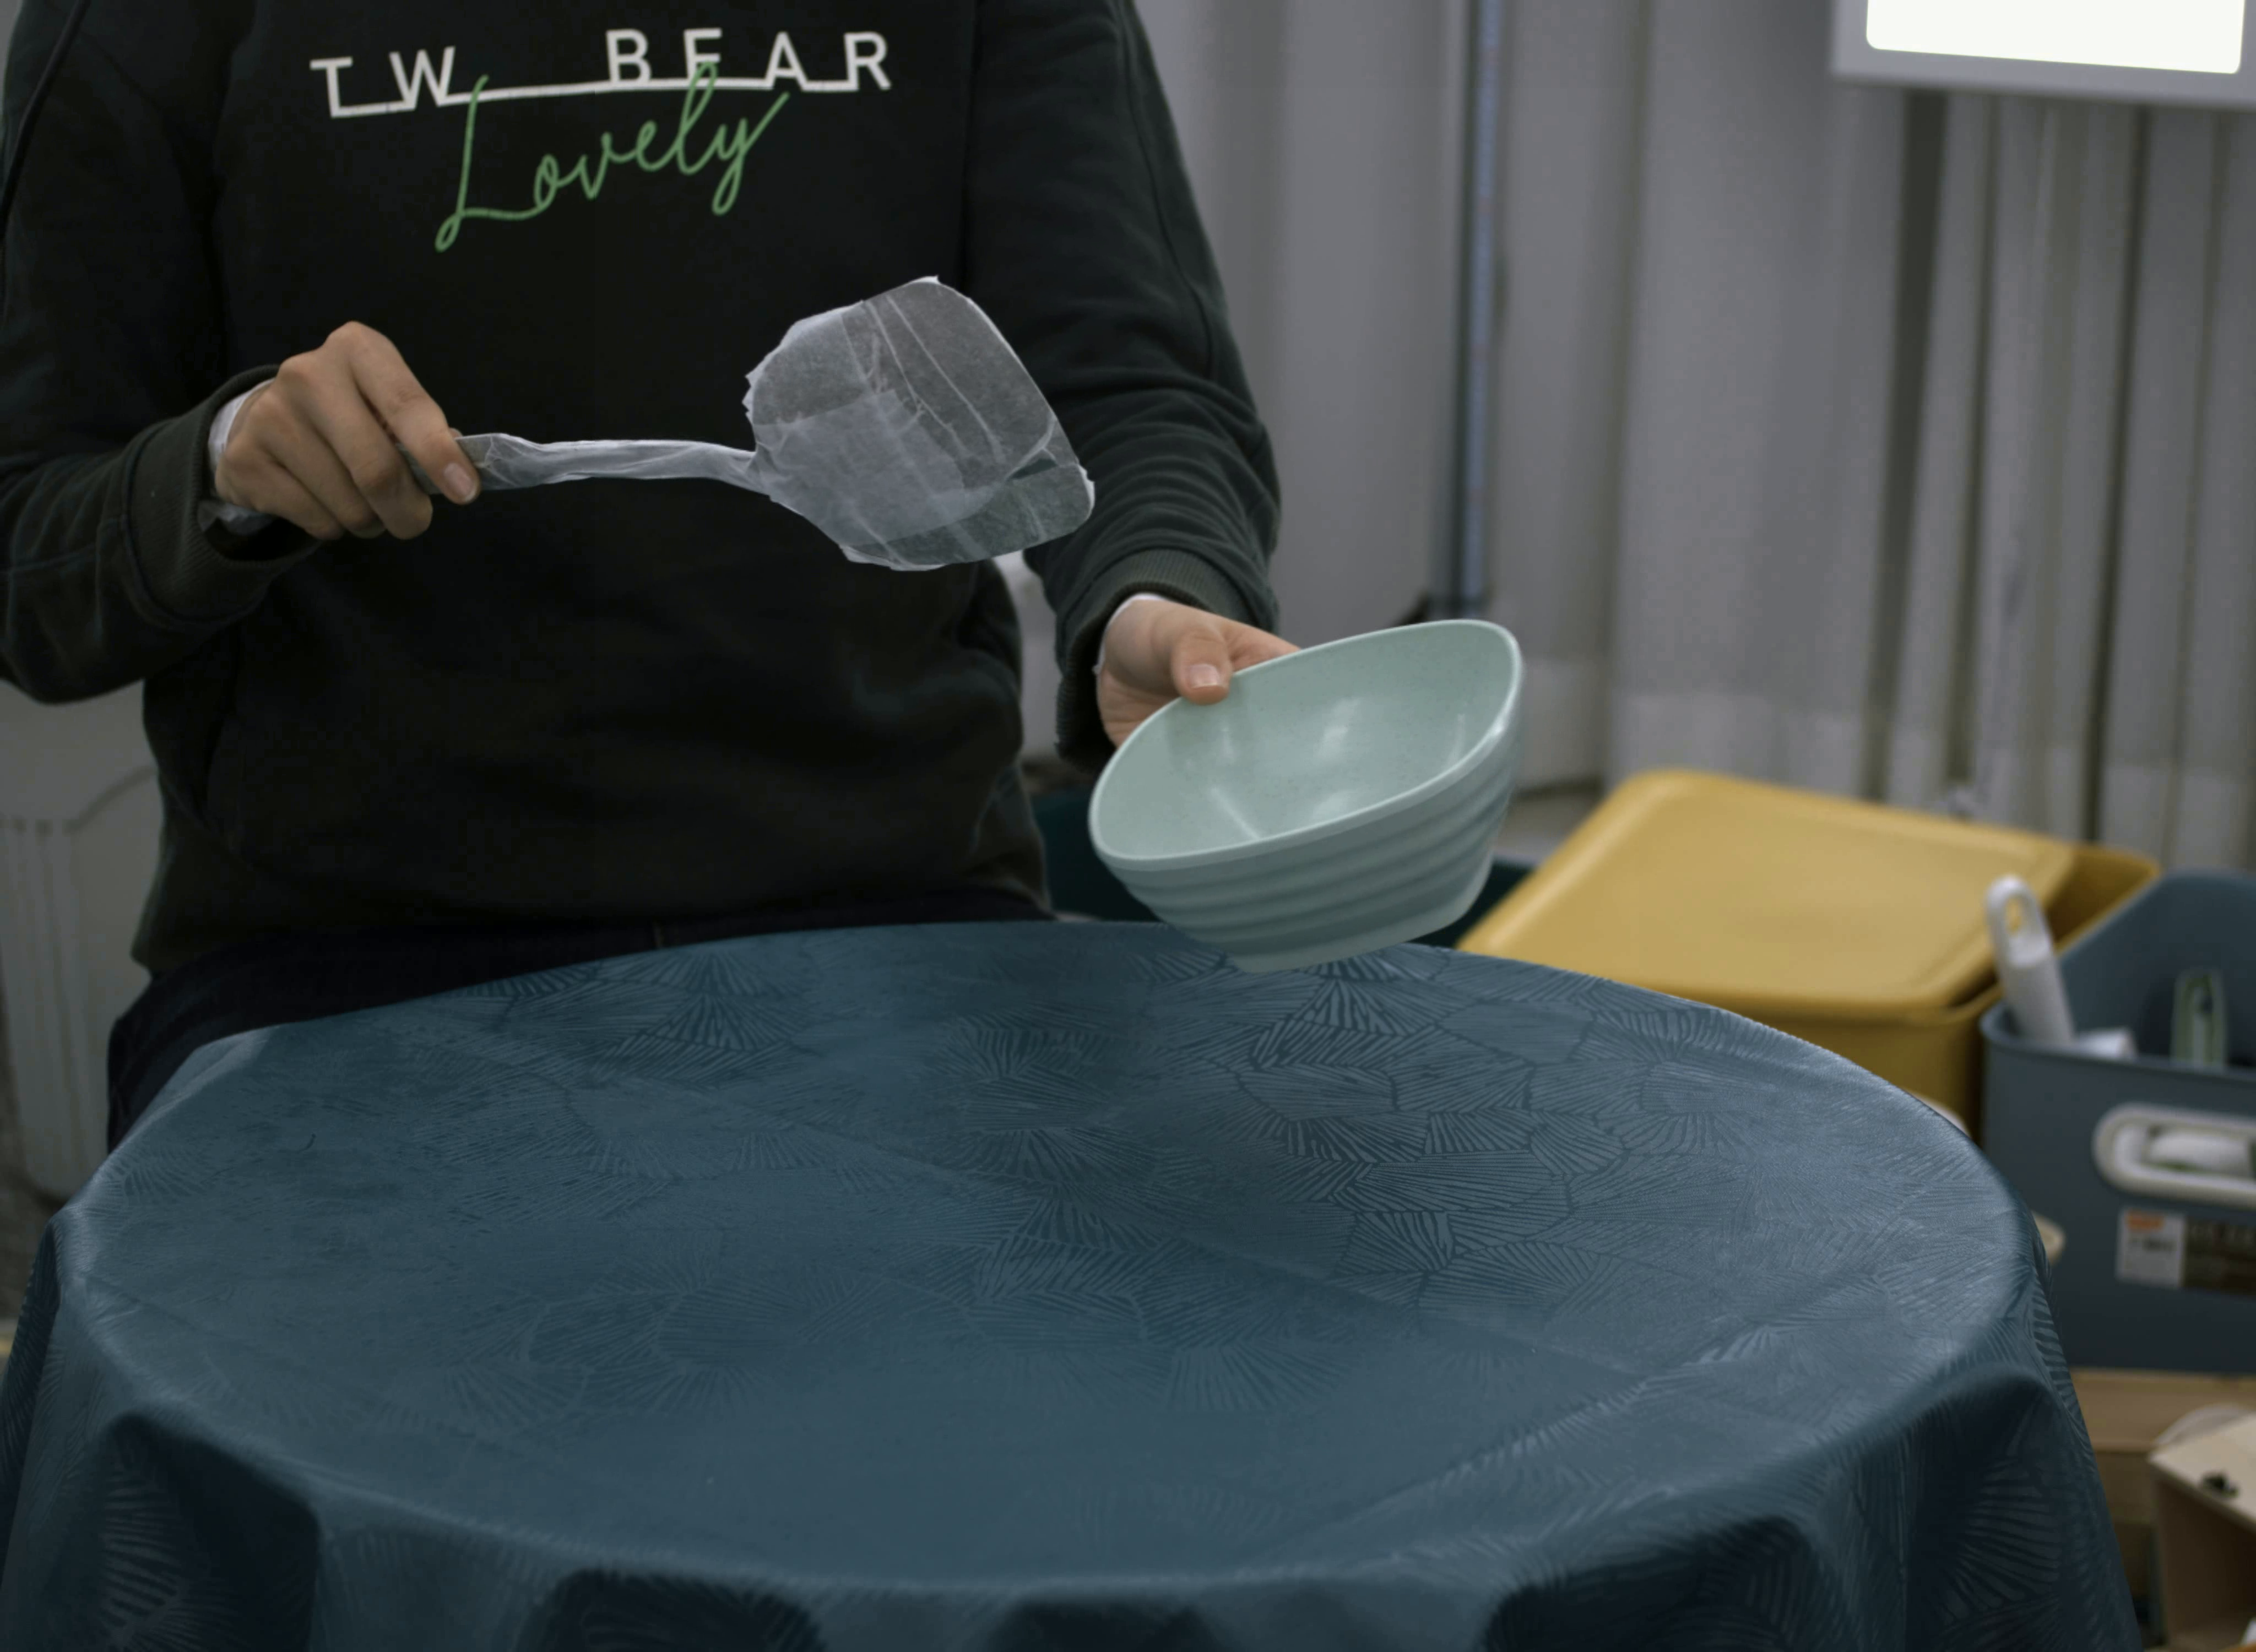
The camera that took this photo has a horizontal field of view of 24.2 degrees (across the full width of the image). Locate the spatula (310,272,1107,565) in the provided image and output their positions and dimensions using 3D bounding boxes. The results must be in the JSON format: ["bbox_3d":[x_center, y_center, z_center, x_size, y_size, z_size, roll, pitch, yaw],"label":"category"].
[{"bbox_3d":[-0.154,-0.118,1.689,0.361,0.100,0.045,1,45,47],"label":"spatula"}]

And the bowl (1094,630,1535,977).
[{"bbox_3d":[0.064,-0.001,1.620,0.151,0.059,0.150,-15,24,7],"label":"bowl"}]
